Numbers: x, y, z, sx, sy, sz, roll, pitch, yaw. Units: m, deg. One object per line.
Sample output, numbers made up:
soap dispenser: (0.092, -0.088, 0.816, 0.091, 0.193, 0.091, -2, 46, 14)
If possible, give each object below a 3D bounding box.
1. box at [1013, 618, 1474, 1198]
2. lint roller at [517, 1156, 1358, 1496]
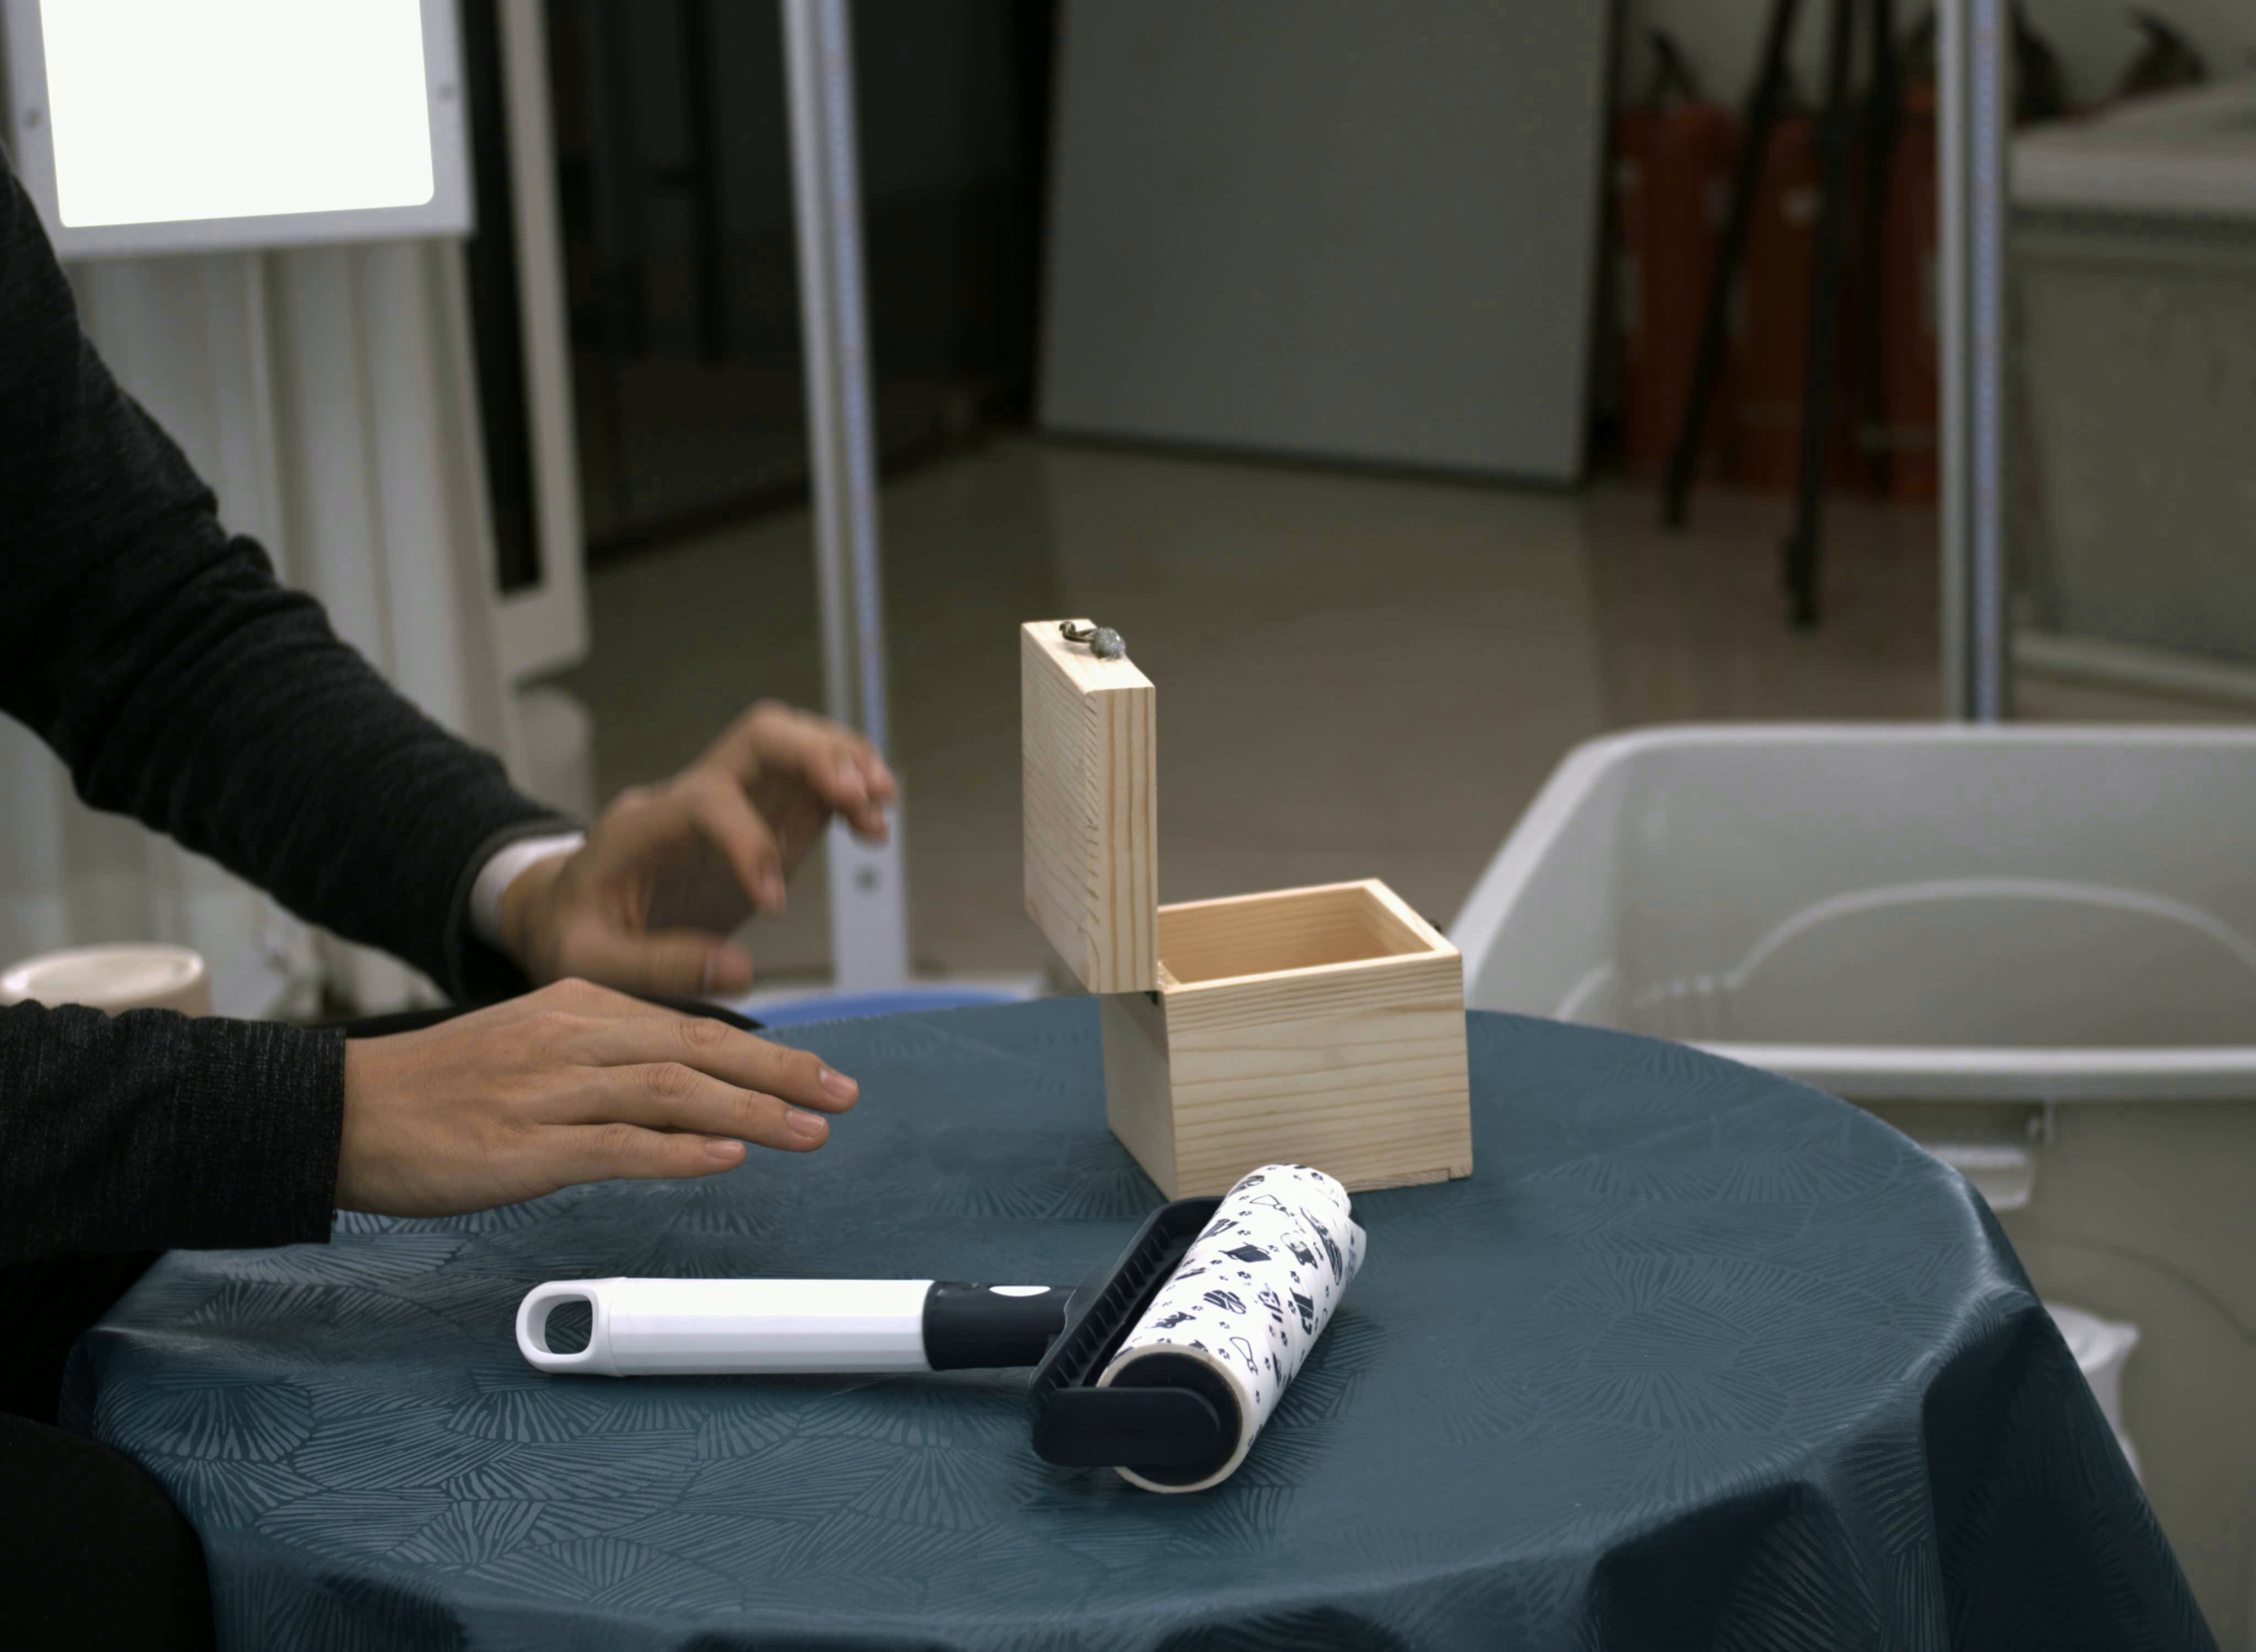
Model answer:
box: (0.038, 0.023, 1.774, 0.131, 0.186, 0.103, -8, 13, -11)
lint roller: (-0.066, 0.147, 1.597, 0.246, 0.051, 0.175, -1, 15, 16)
